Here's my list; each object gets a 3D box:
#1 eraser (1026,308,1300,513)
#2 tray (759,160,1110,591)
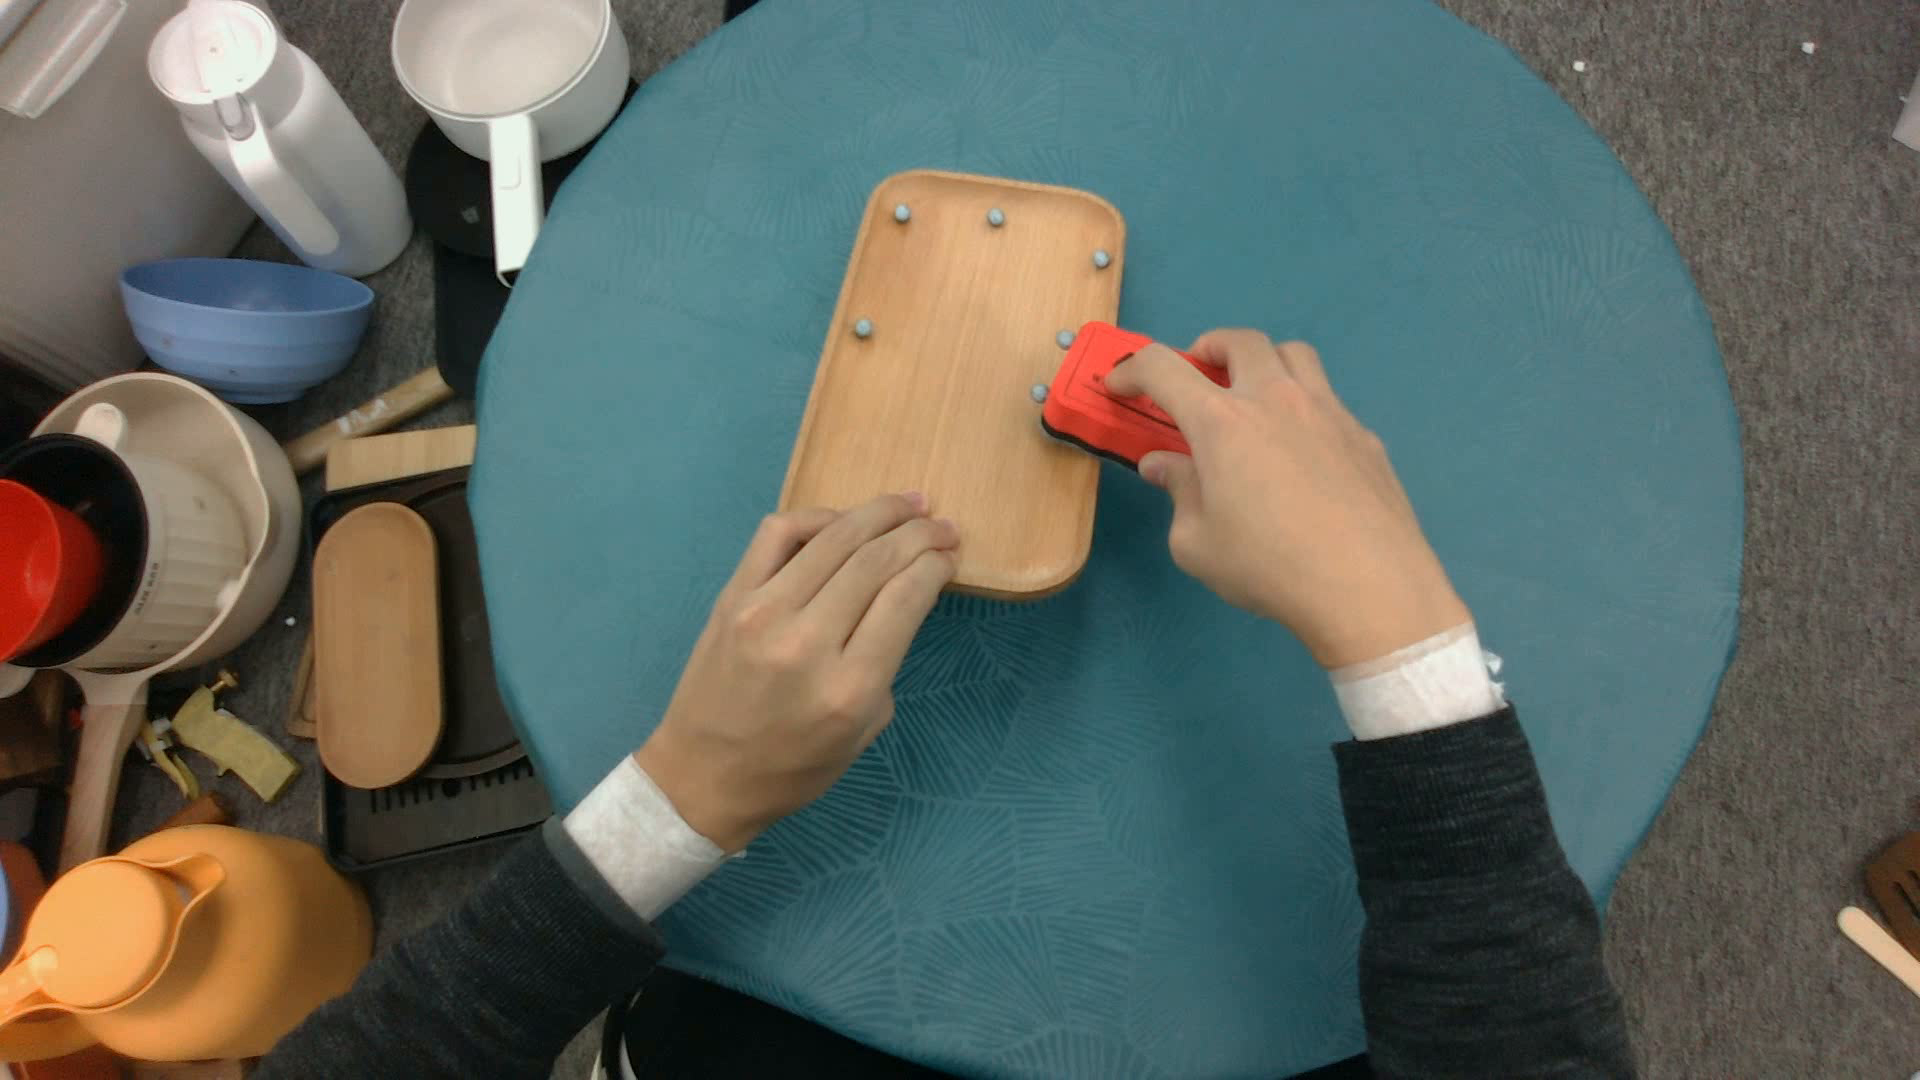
[{"bbox_3d":[0.086,-0.056,0.581,0.108,0.023,0.059,23,54,5],"label":"eraser"},{"bbox_3d":[-0.004,-0.083,0.612,0.130,0.023,0.252,8,52,4],"label":"tray"}]
